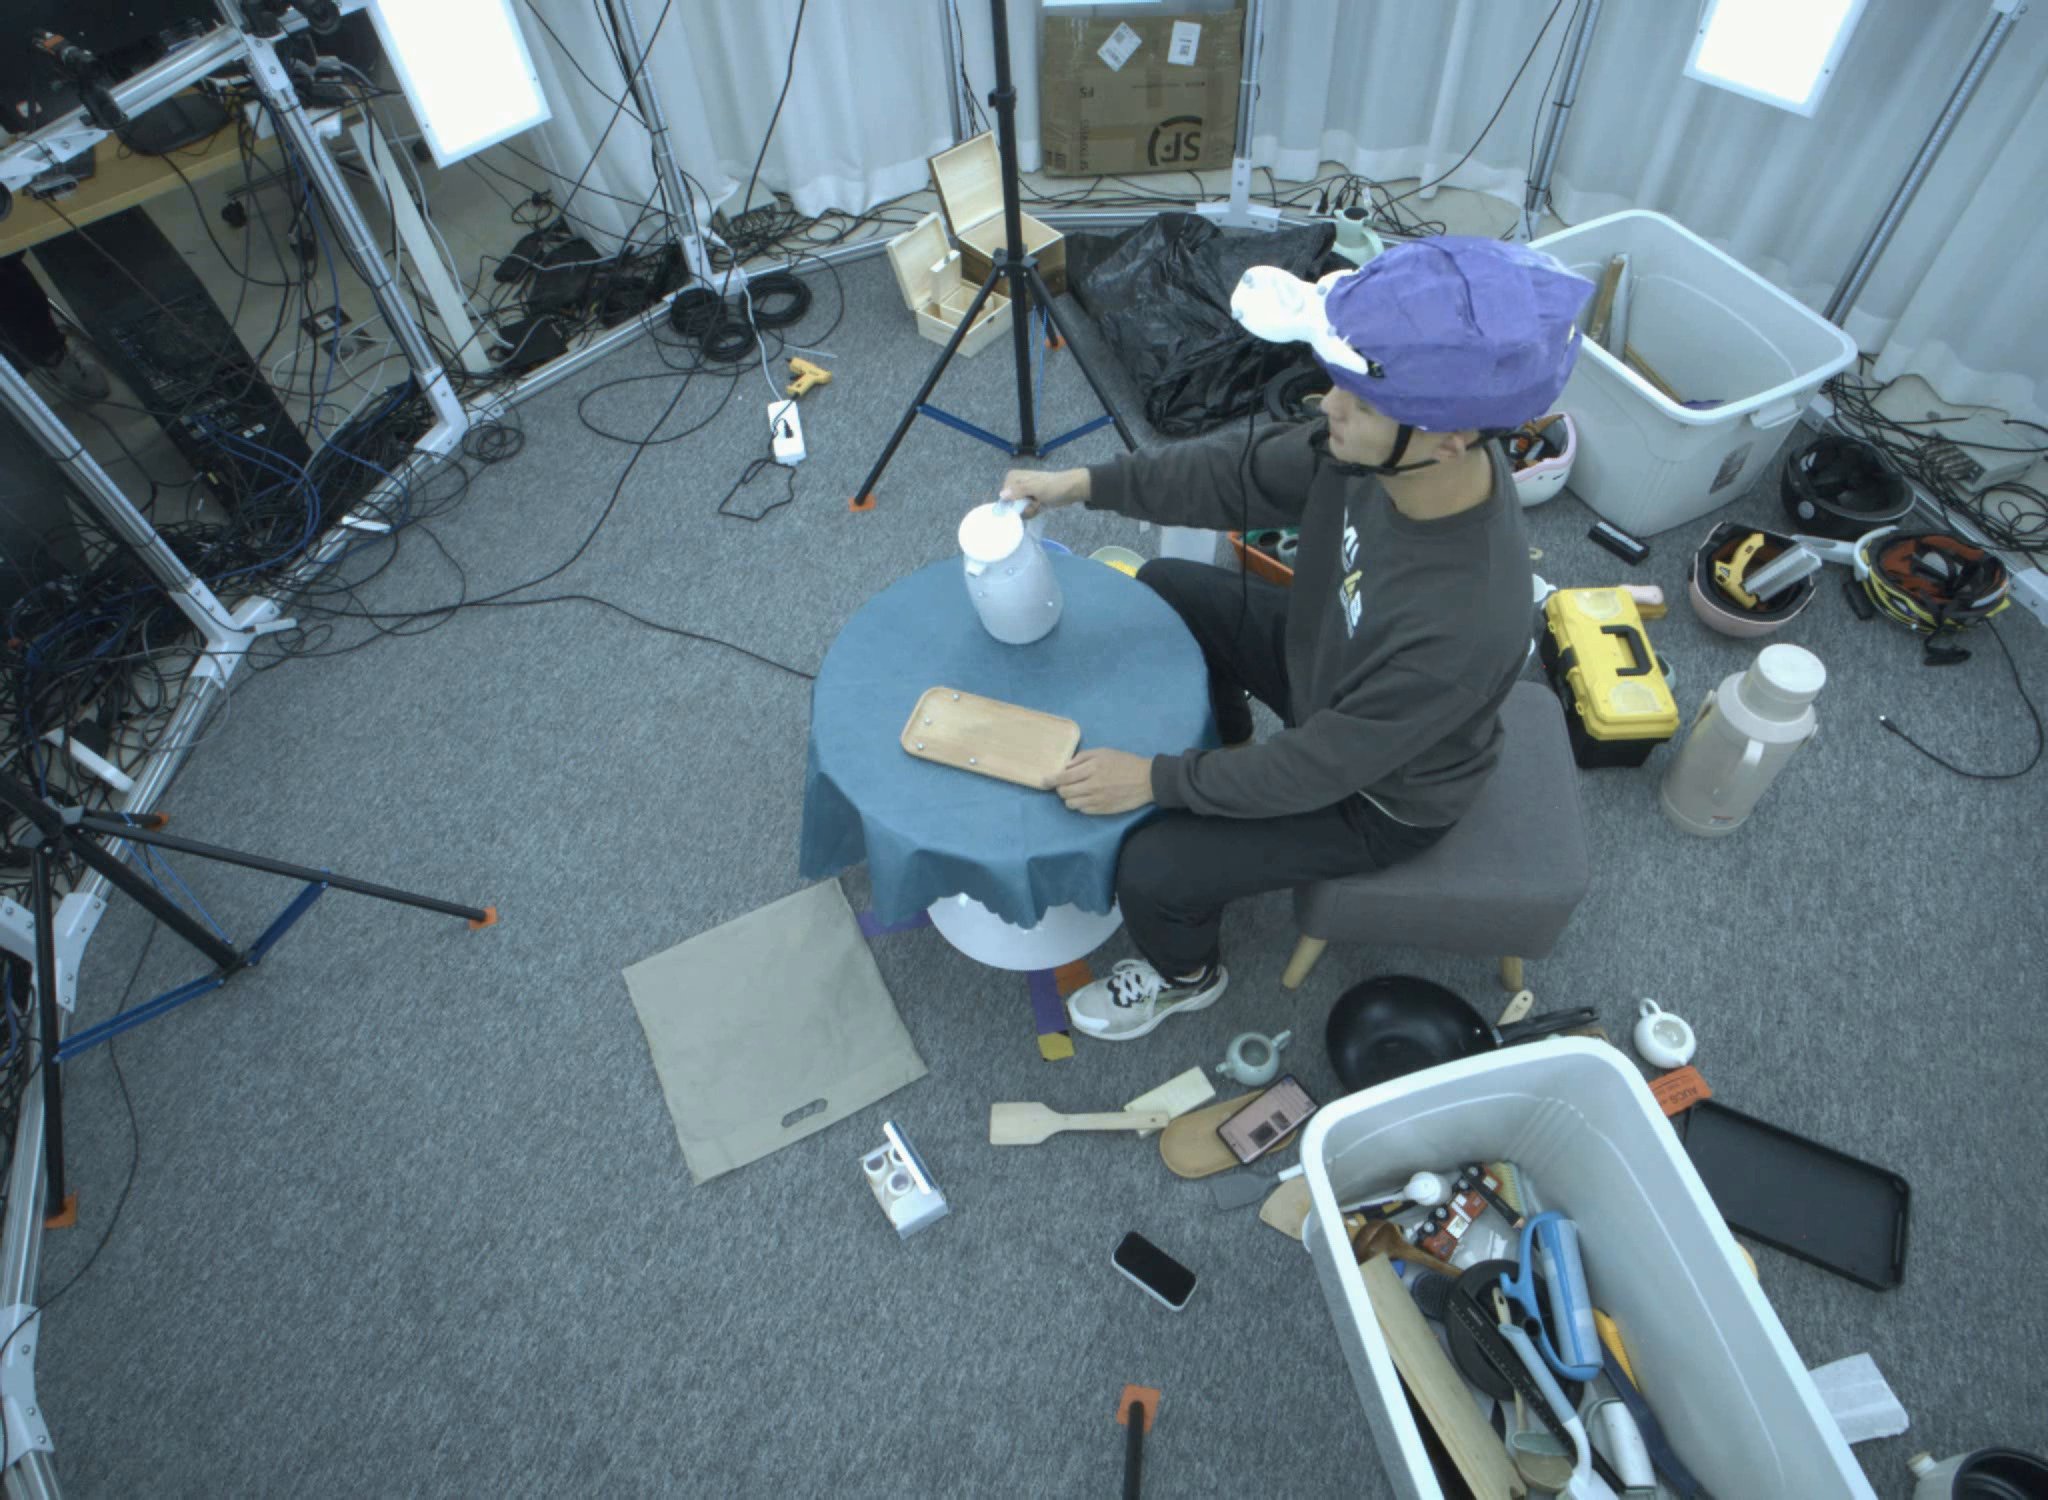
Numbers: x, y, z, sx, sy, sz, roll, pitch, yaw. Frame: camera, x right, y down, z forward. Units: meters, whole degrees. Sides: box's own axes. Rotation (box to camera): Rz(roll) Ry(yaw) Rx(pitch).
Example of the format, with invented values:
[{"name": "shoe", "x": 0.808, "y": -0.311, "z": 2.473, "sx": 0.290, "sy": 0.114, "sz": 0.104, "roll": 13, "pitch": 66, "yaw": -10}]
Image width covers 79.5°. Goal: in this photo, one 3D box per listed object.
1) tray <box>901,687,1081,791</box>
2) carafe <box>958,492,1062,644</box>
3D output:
[{"name": "tray", "x": -0.048, "y": -0.018, "z": 1.789, "sx": 0.248, "sy": 0.023, "sz": 0.130, "roll": 16, "pitch": 59, "yaw": 12}, {"name": "carafe", "x": -0.020, "y": -0.284, "z": 1.810, "sx": 0.131, "sy": 0.252, "sz": 0.167, "roll": 23, "pitch": 75, "yaw": 17}]
